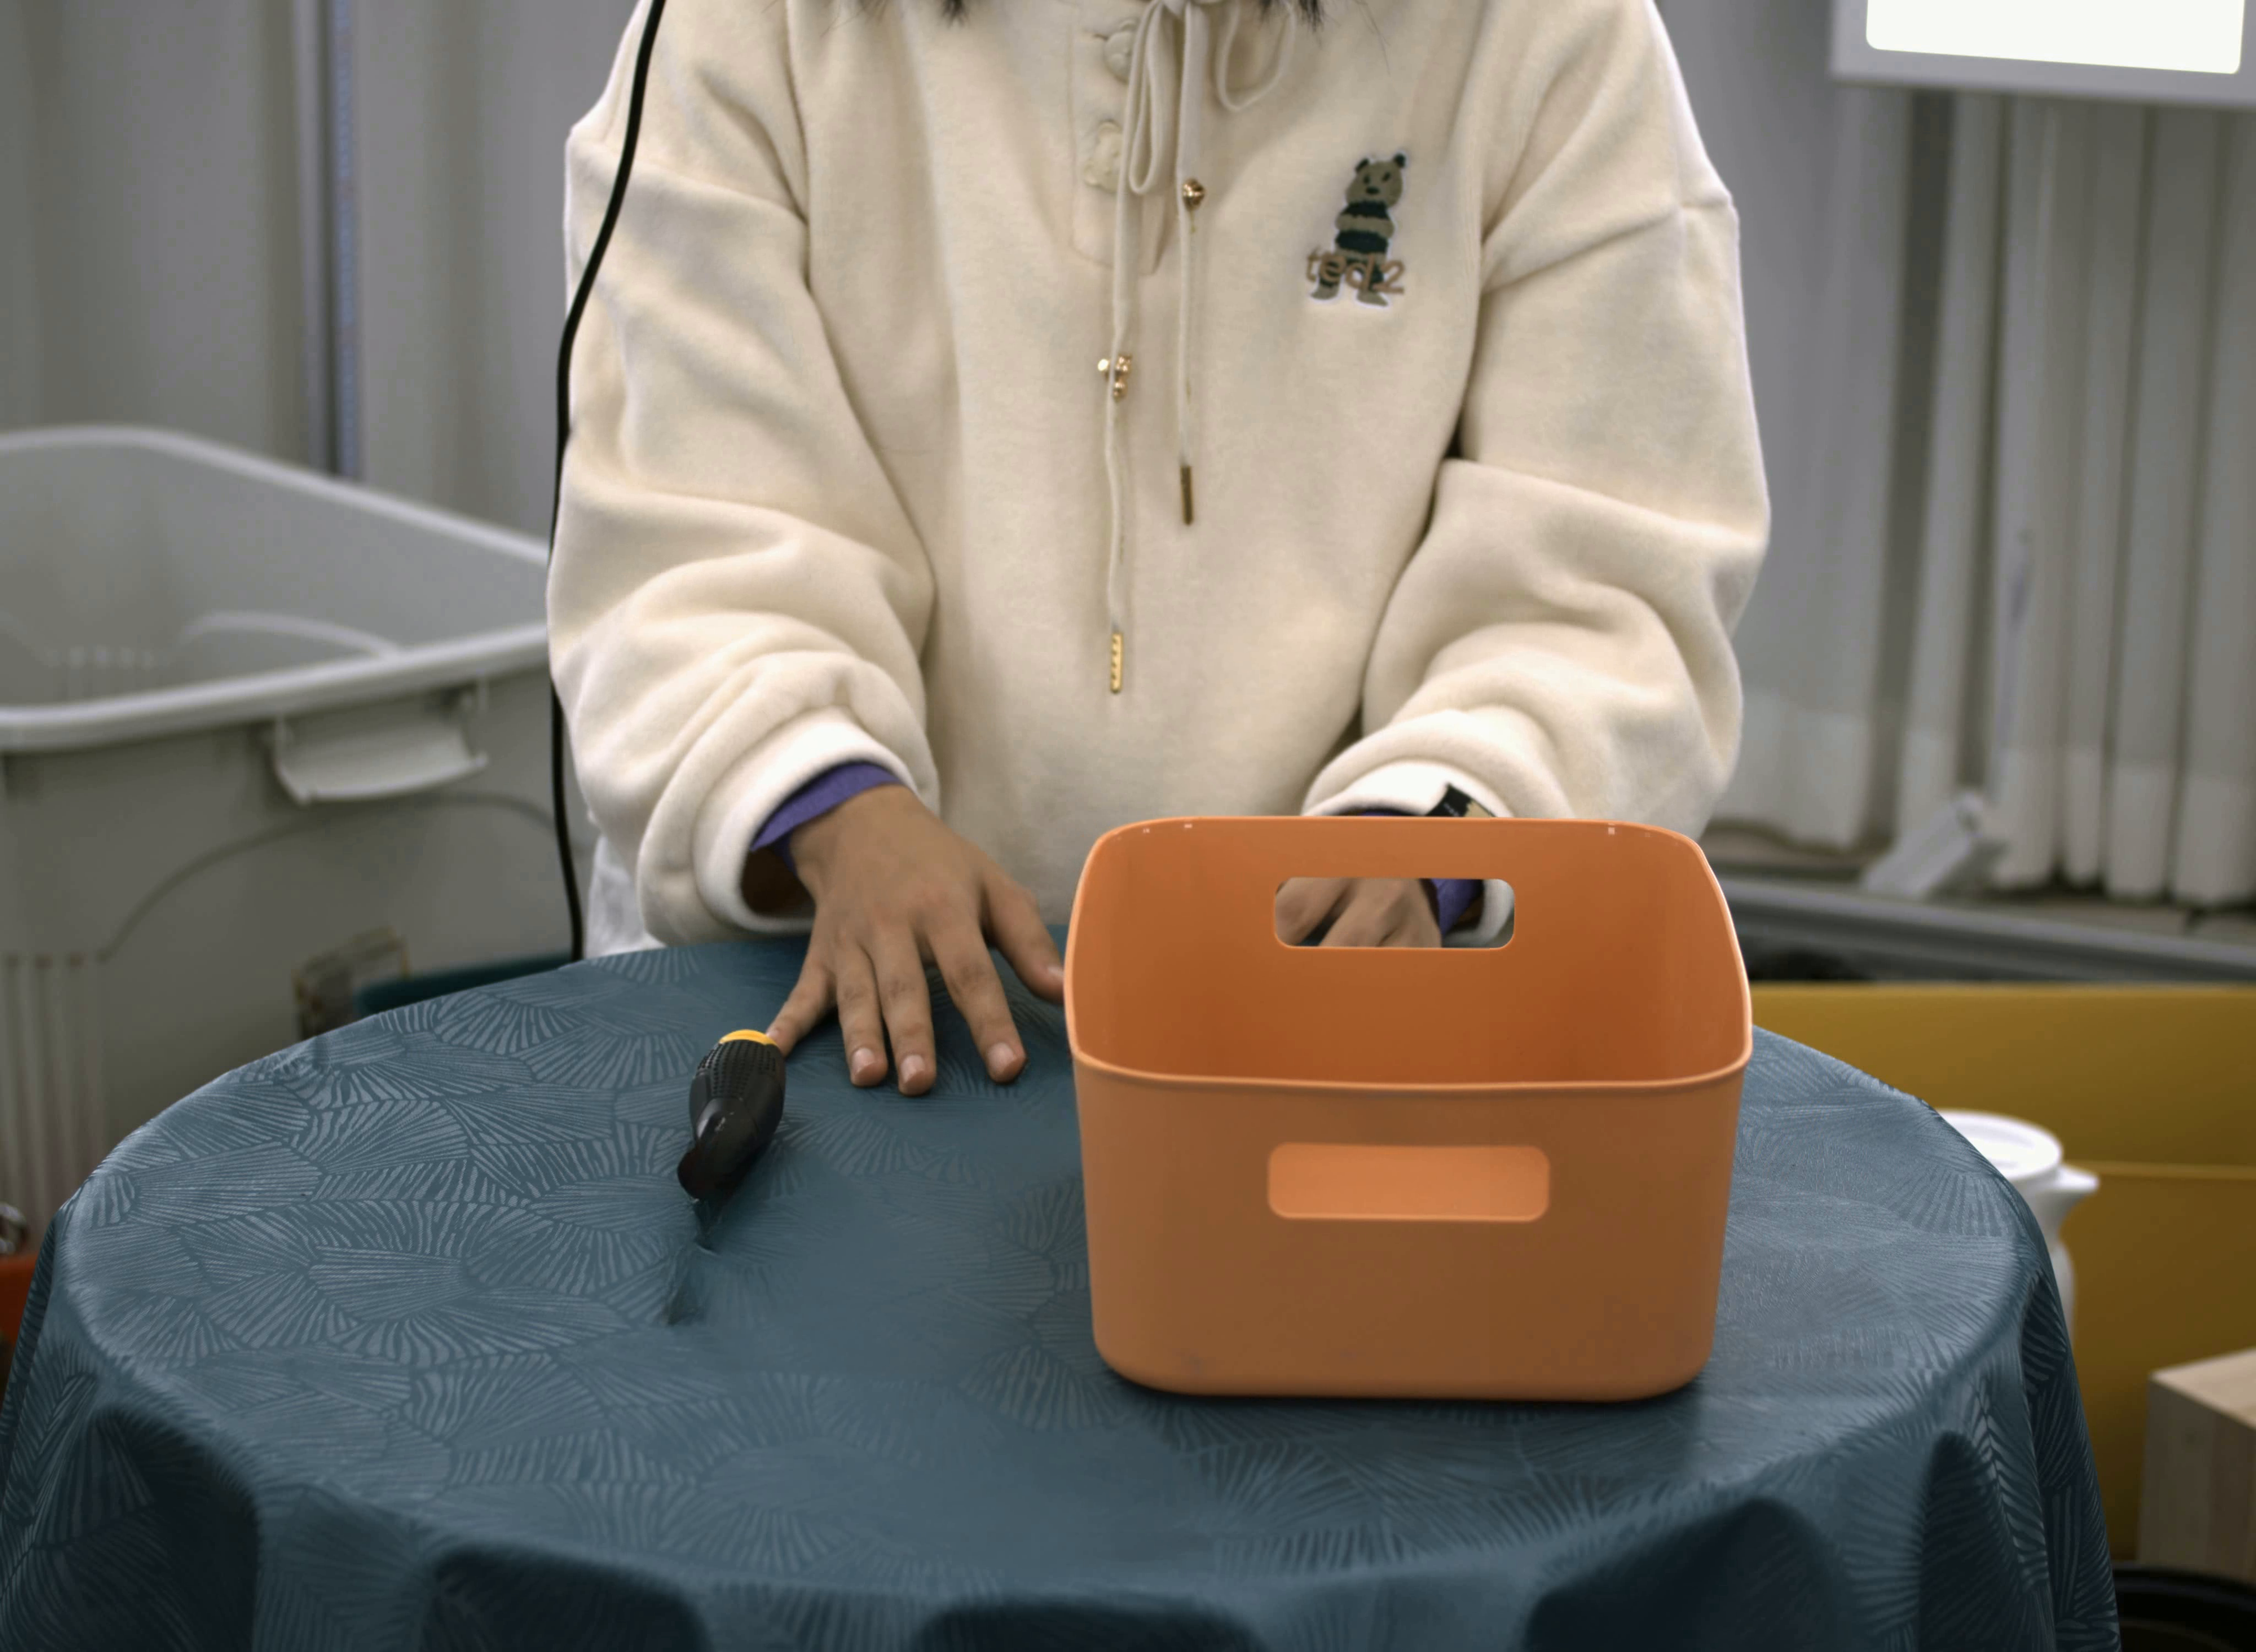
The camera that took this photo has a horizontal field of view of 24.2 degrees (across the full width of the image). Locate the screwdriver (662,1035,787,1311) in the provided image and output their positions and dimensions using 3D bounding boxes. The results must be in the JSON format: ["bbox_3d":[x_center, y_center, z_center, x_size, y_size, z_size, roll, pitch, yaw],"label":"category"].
[{"bbox_3d":[-0.129,0.107,1.599,0.031,0.032,0.197,2,18,5],"label":"screwdriver"}]

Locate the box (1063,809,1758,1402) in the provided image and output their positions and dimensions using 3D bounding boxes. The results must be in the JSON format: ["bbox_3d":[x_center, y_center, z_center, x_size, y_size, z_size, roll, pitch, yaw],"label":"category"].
[{"bbox_3d":[0.081,0.079,1.547,0.199,0.103,0.272,0,16,1],"label":"box"}]
